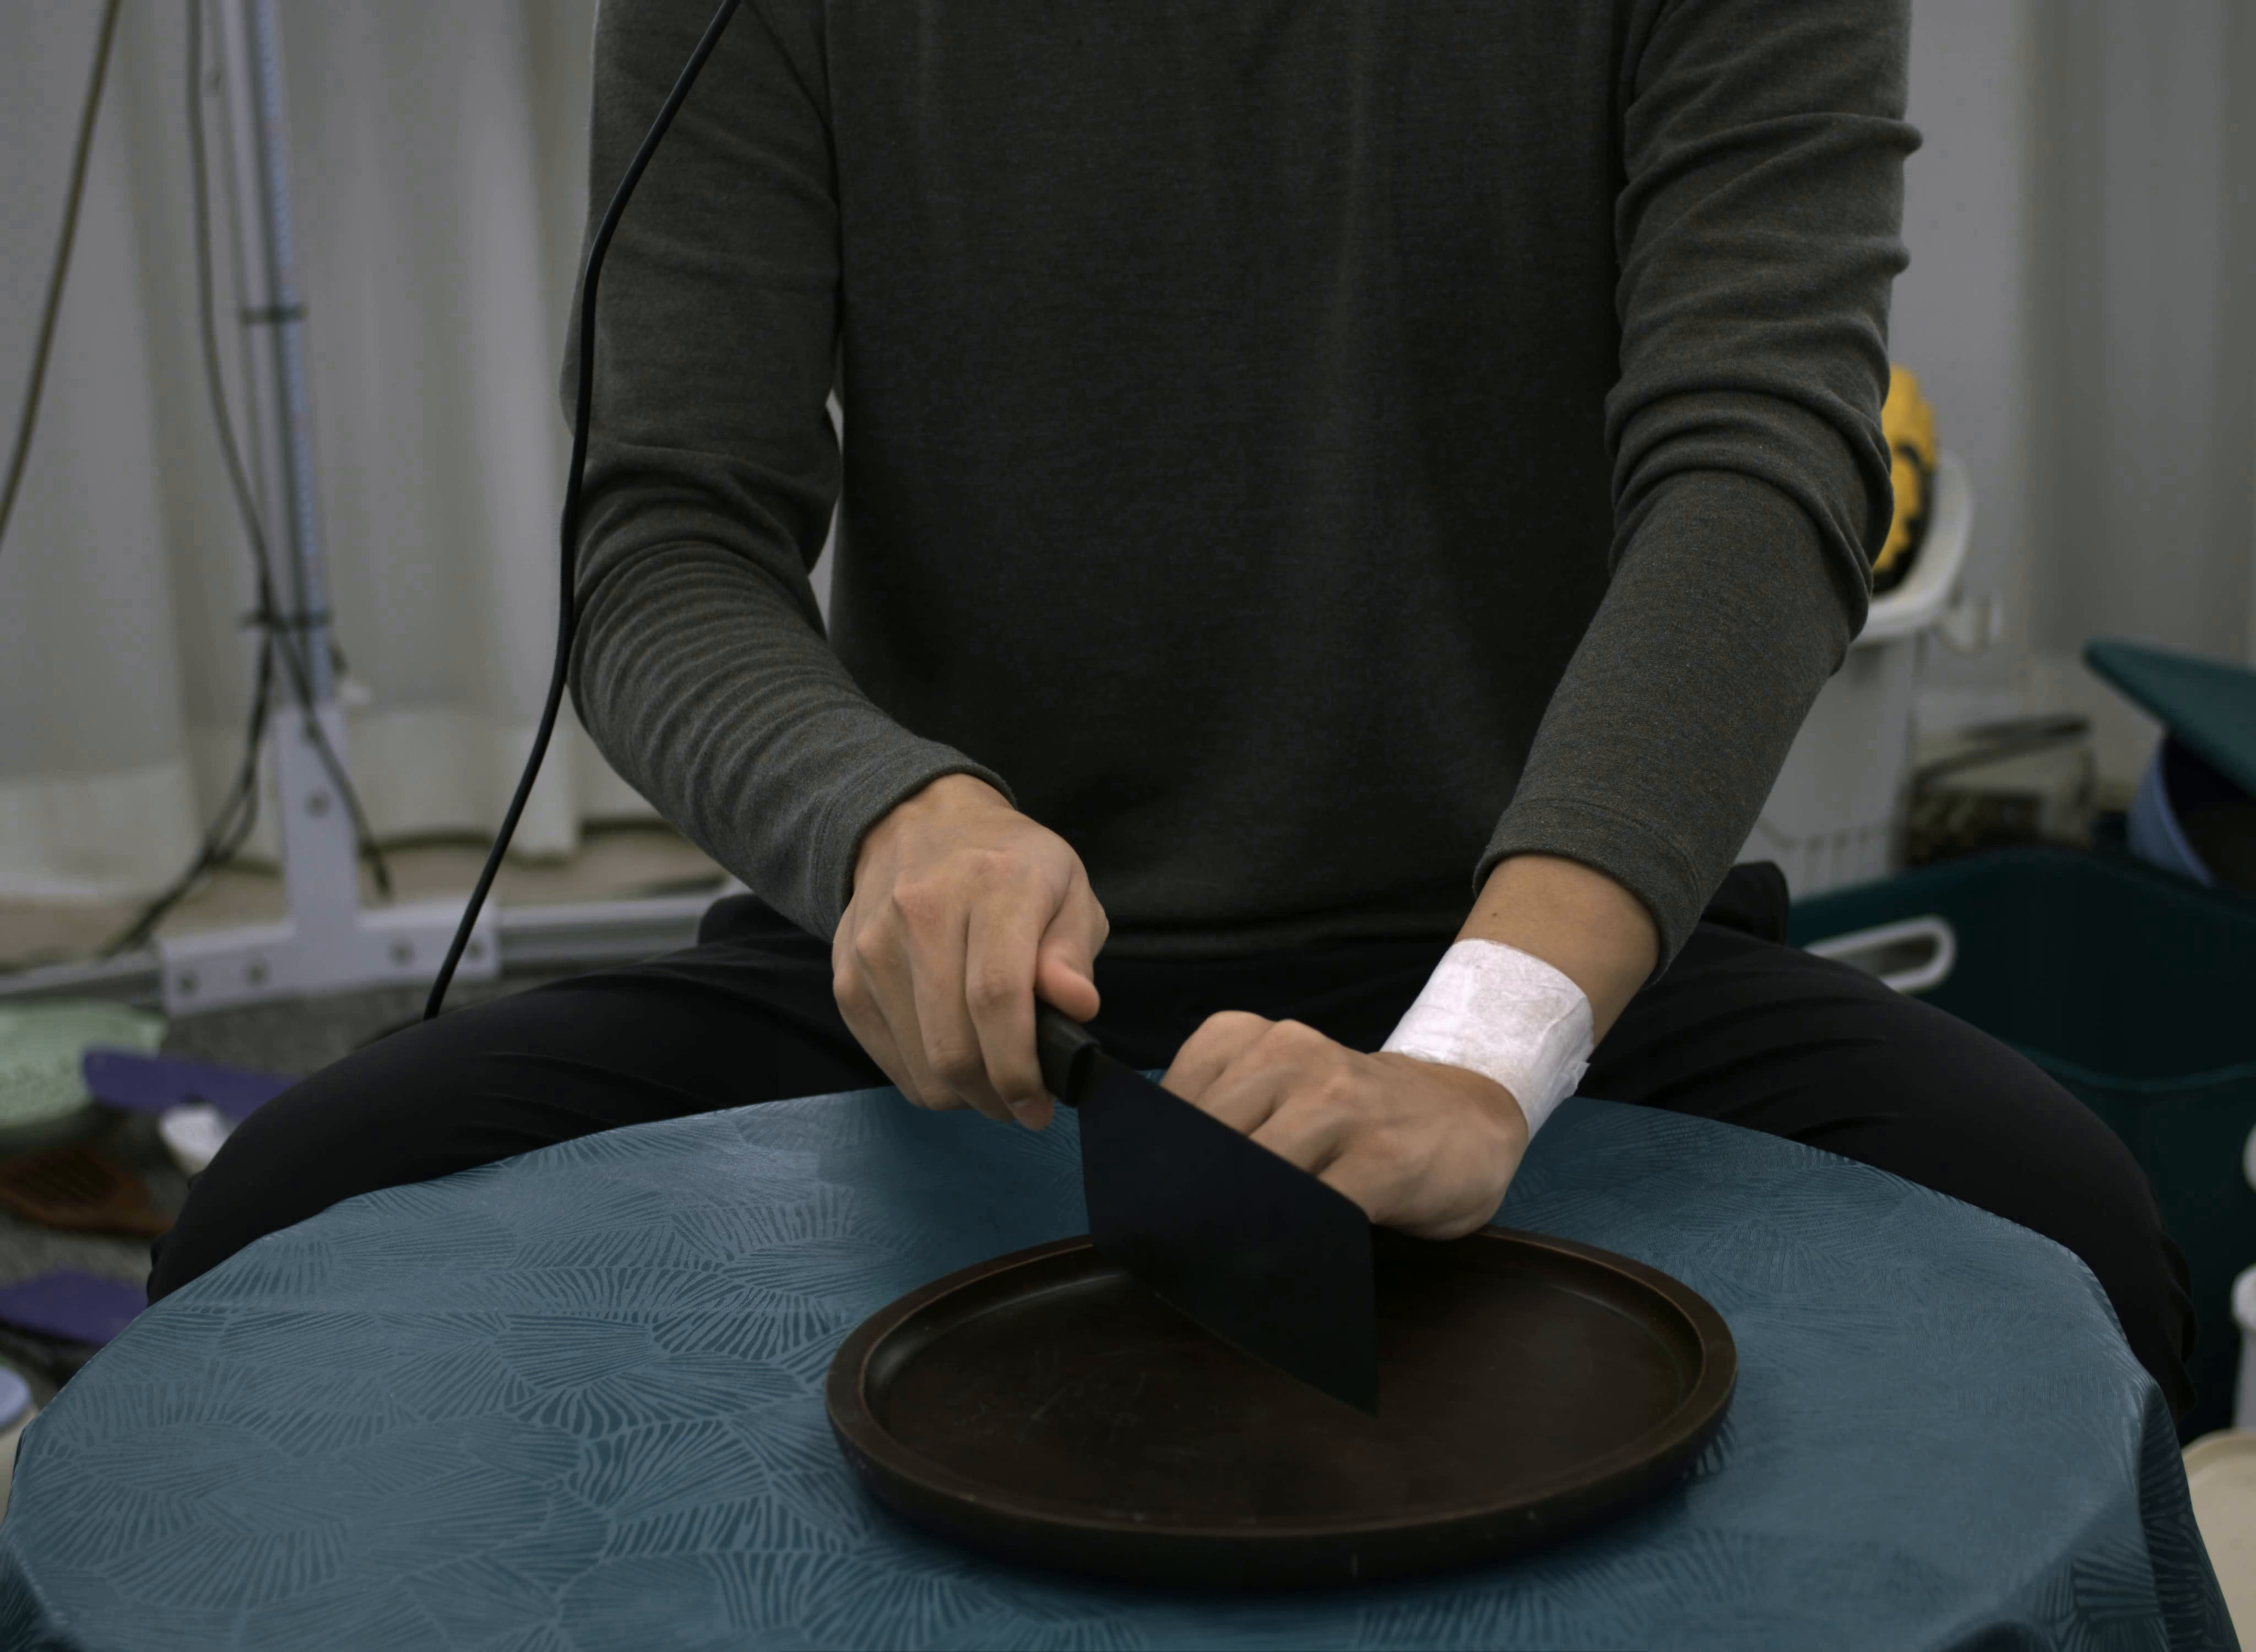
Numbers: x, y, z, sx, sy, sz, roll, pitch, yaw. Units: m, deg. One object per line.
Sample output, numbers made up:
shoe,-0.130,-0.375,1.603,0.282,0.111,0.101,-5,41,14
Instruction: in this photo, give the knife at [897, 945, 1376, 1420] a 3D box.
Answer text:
knife,0.000,0.094,1.565,0.021,0.080,0.305,-9,21,-24

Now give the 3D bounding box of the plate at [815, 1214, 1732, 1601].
plate,0.040,0.157,1.507,0.254,0.029,0.256,-4,15,1
